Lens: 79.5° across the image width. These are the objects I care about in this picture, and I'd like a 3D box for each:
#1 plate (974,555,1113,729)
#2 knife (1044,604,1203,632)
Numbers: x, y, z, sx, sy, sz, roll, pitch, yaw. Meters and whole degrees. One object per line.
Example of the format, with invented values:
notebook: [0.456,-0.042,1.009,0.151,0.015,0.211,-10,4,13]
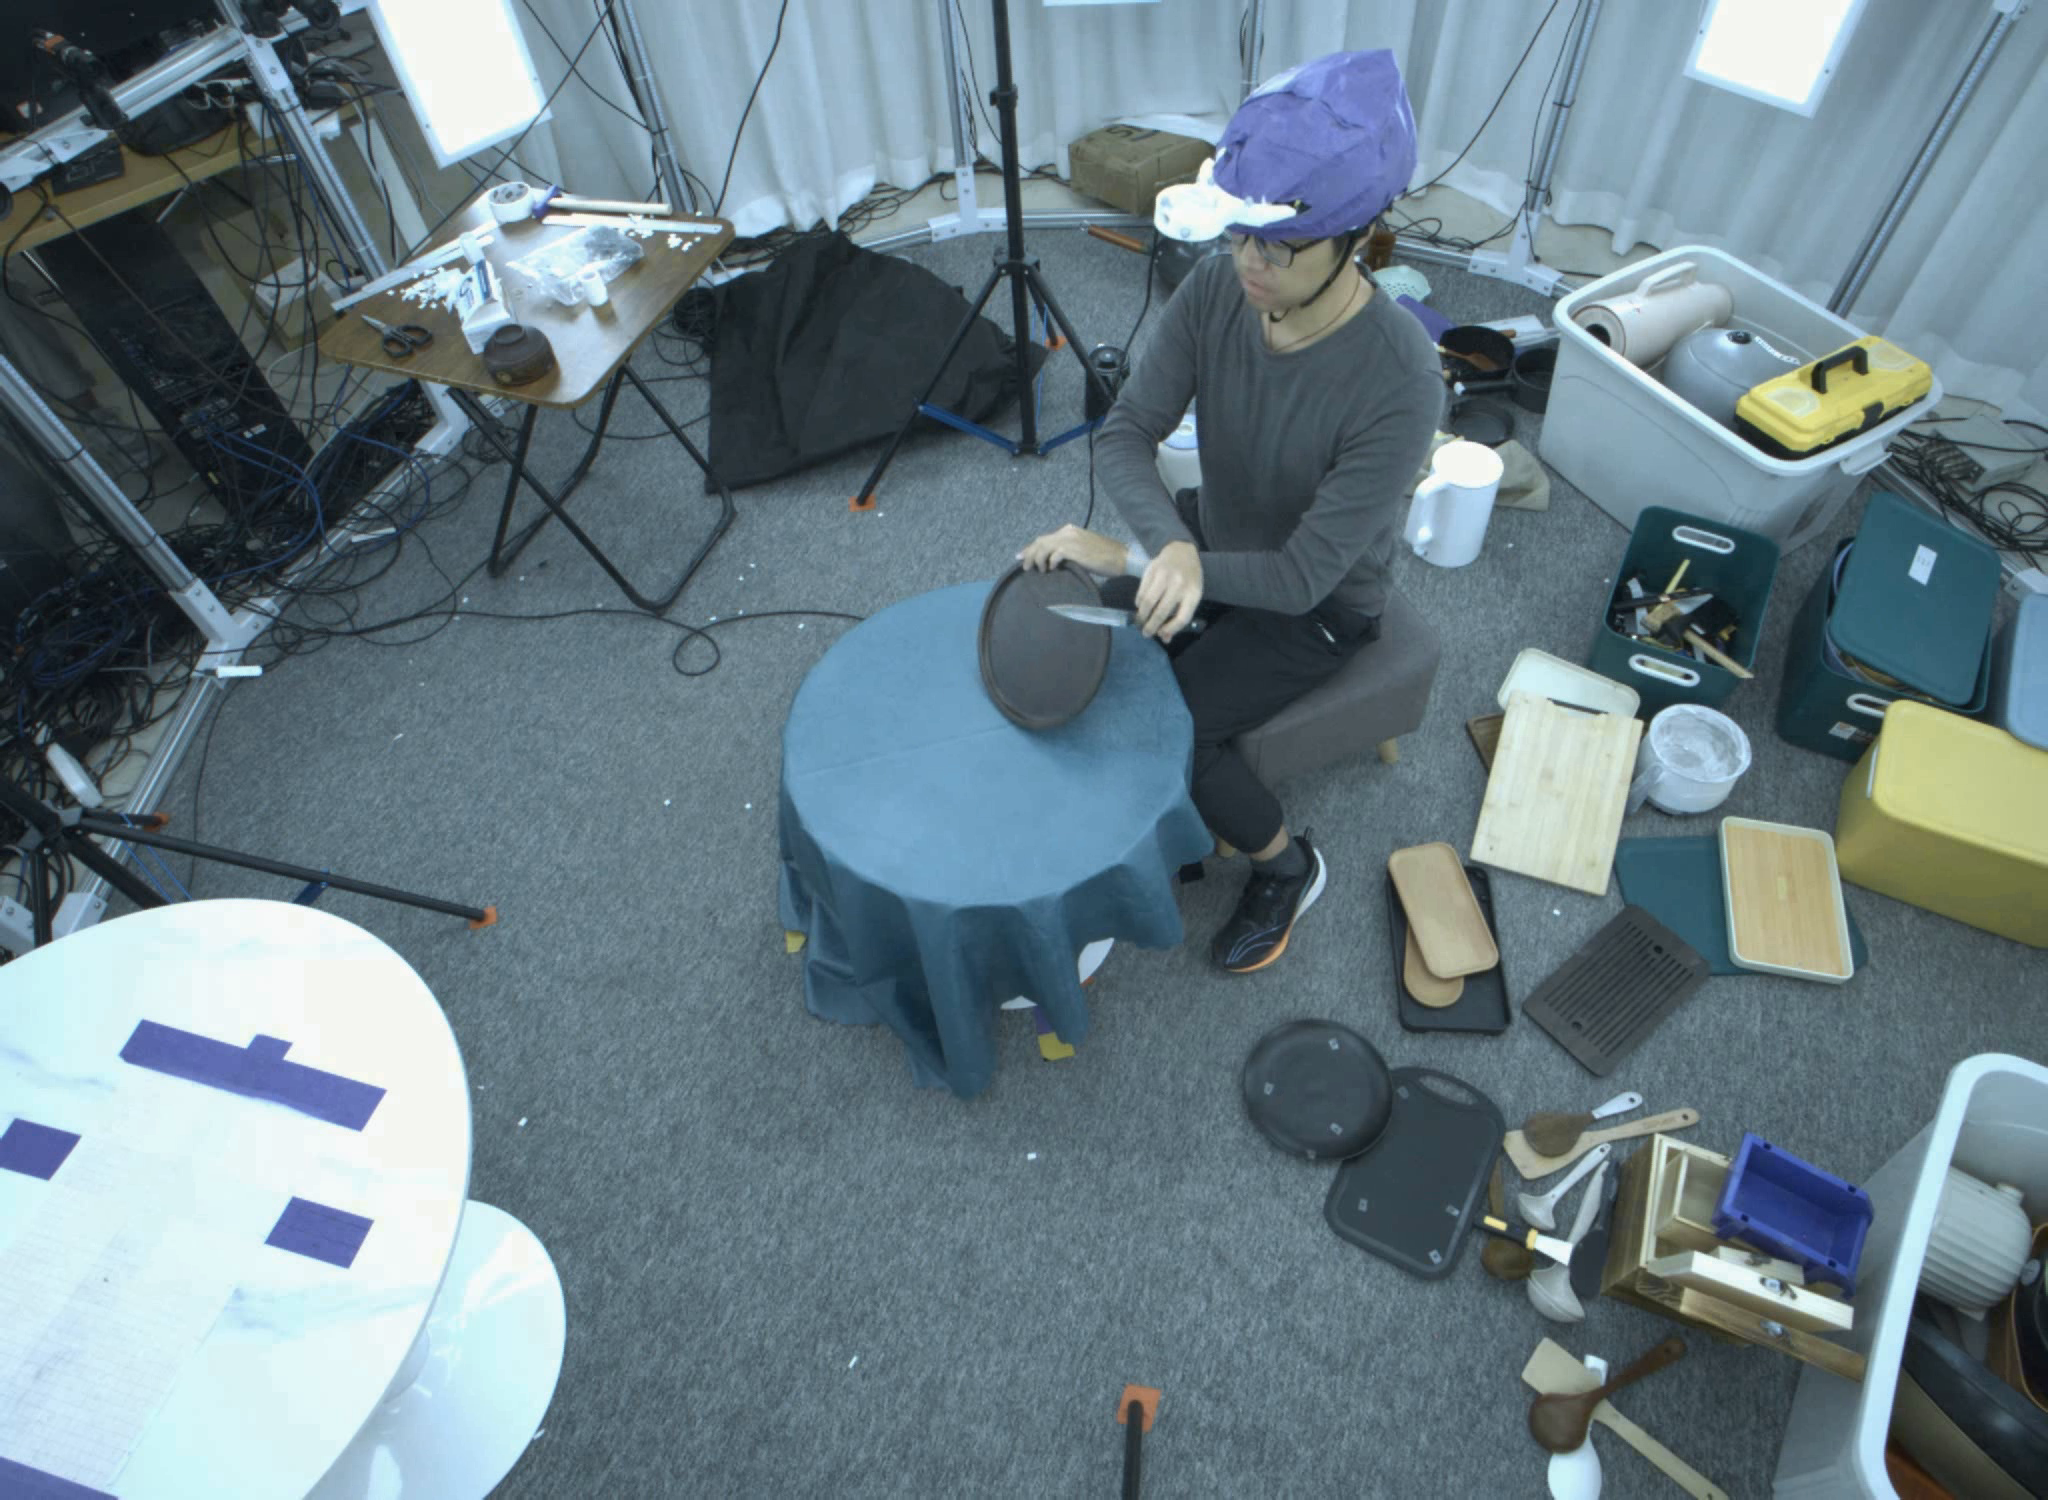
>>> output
plate: [0.029,-0.156,1.785,0.029,0.254,0.250,-5,43,-50]
knife: [0.132,-0.184,1.676,0.234,0.024,0.016,10,19,26]
